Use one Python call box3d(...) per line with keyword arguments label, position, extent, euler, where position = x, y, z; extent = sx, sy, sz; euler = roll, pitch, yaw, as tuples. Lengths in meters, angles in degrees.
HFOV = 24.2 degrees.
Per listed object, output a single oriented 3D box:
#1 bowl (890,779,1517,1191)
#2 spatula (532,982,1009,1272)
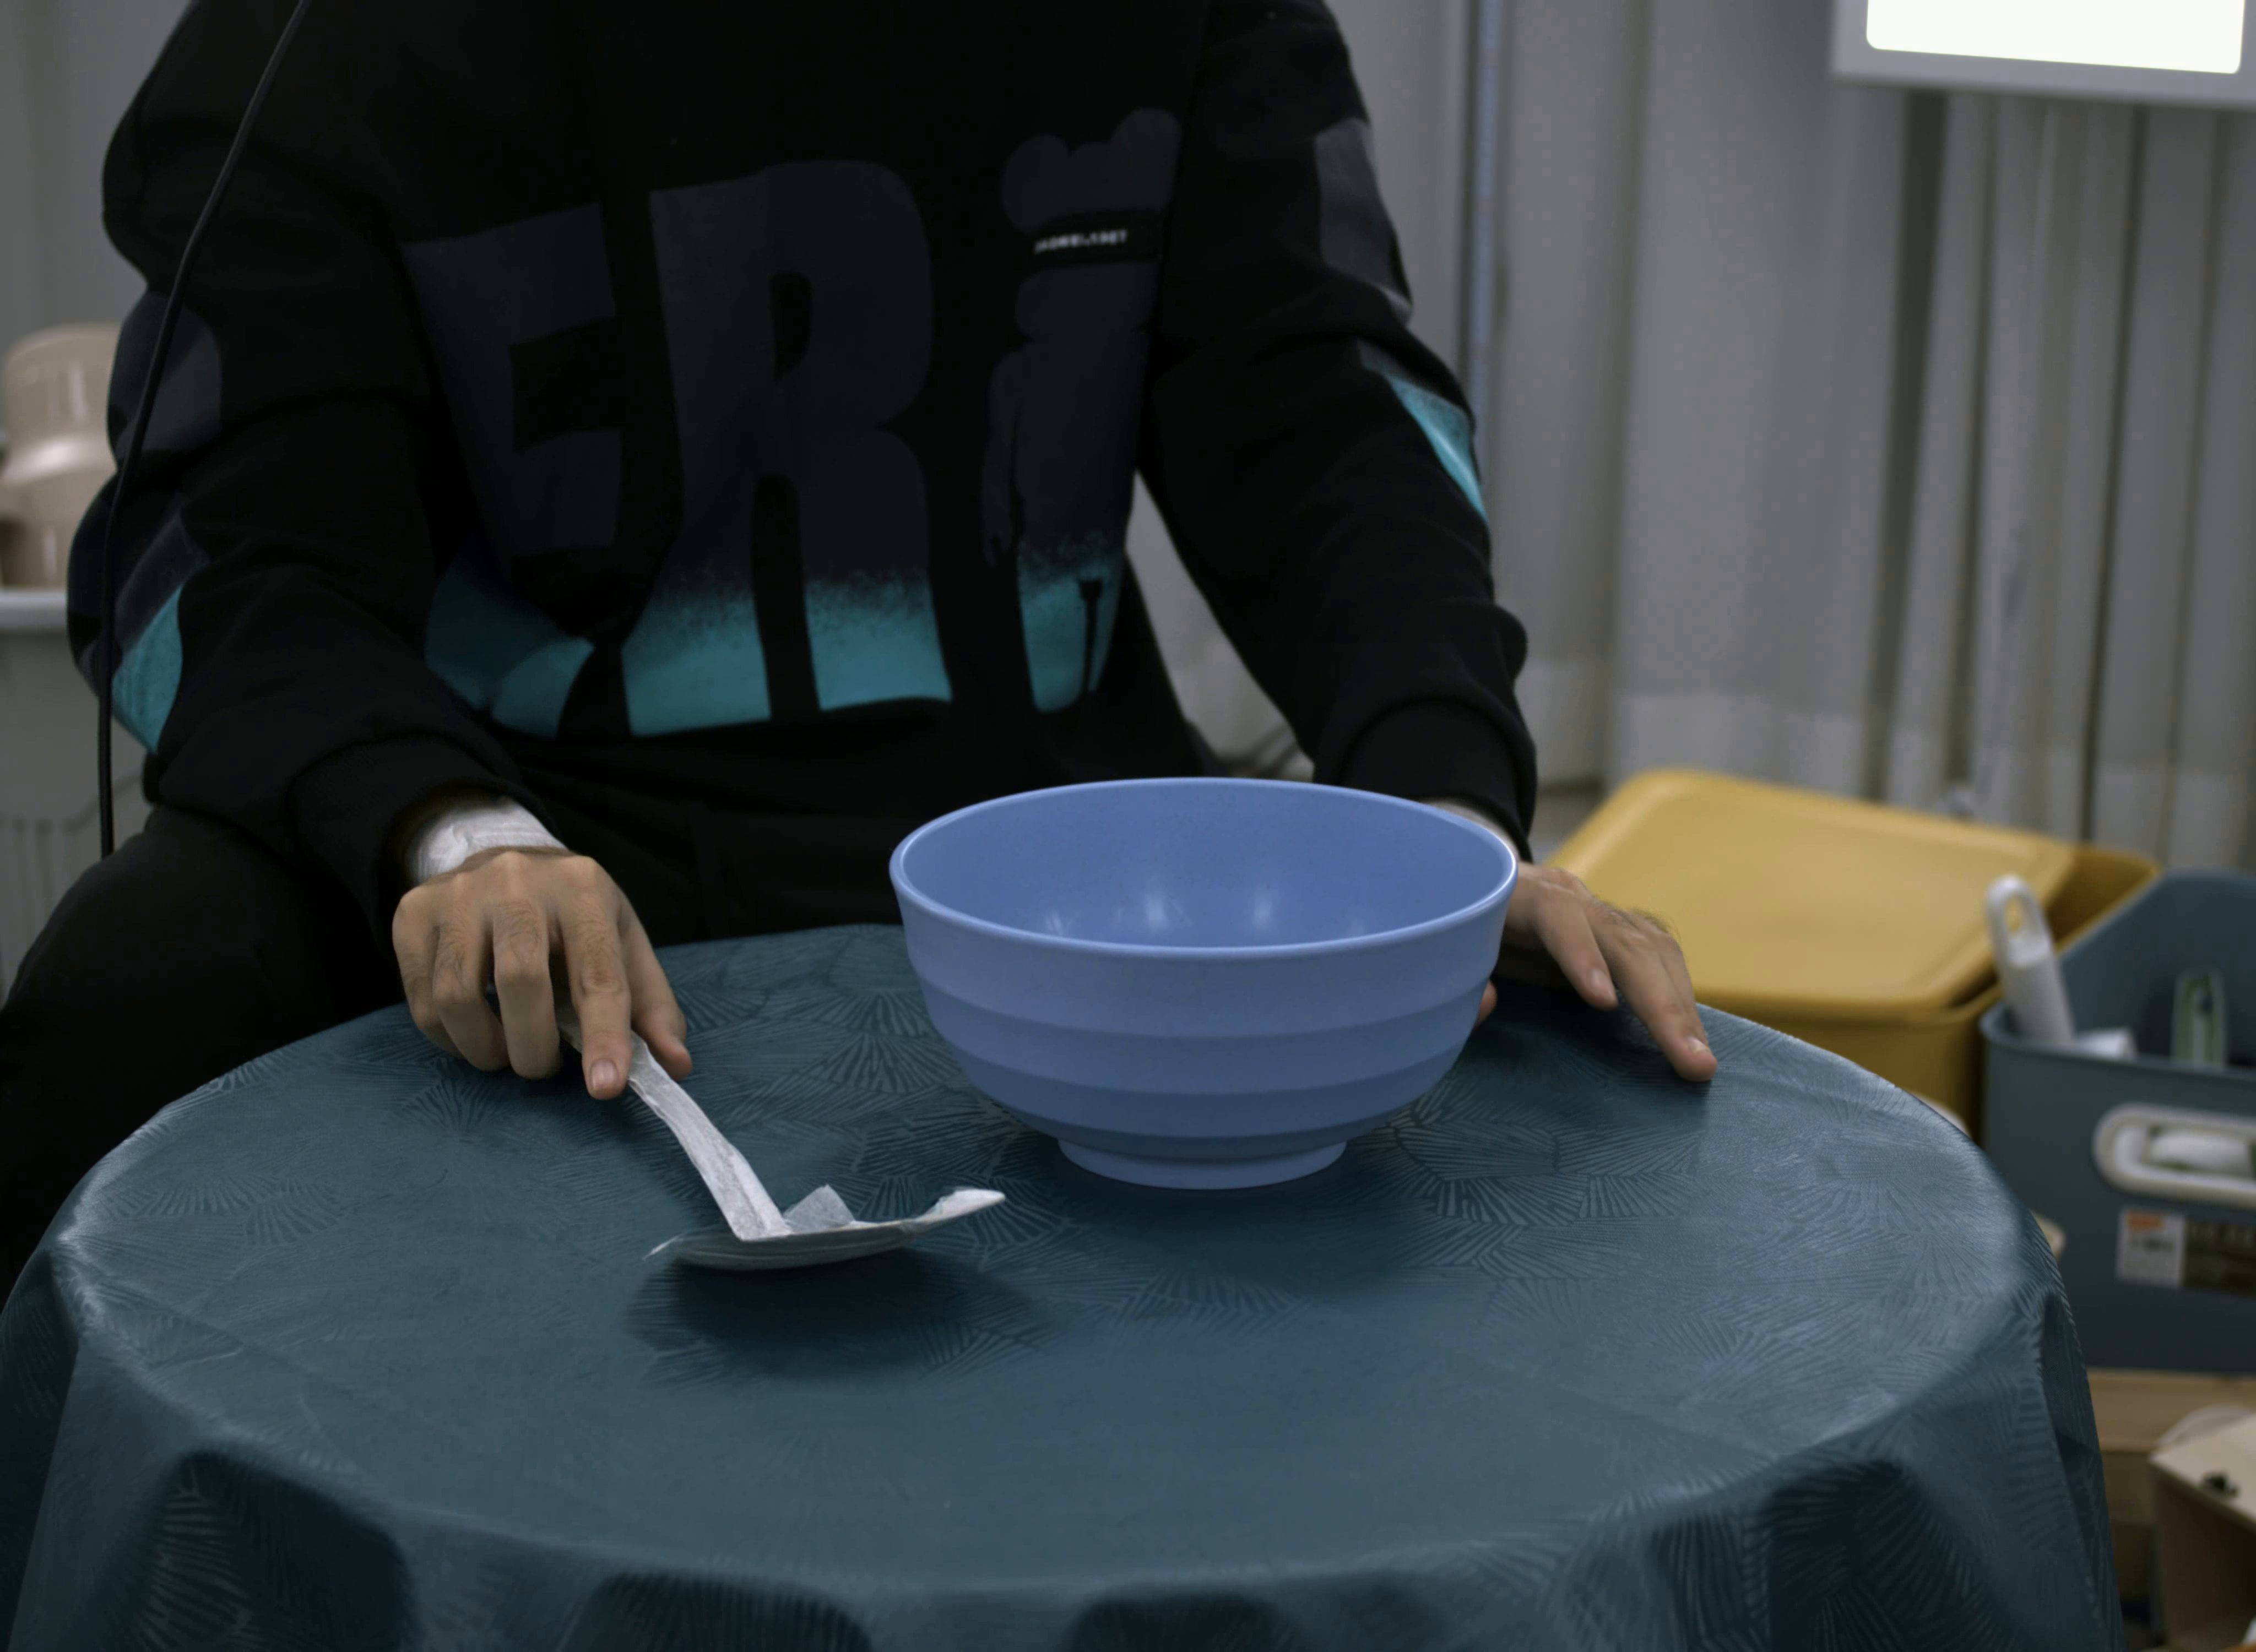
box3d(label="bowl", position=(0.024, 0.055, 1.657), extent=(0.196, 0.096, 0.195), euler=(0, 16, 1))
box3d(label="spatula", position=(-0.137, 0.085, 1.649), extent=(0.099, 0.045, 0.361), euler=(-7, 17, -20))
